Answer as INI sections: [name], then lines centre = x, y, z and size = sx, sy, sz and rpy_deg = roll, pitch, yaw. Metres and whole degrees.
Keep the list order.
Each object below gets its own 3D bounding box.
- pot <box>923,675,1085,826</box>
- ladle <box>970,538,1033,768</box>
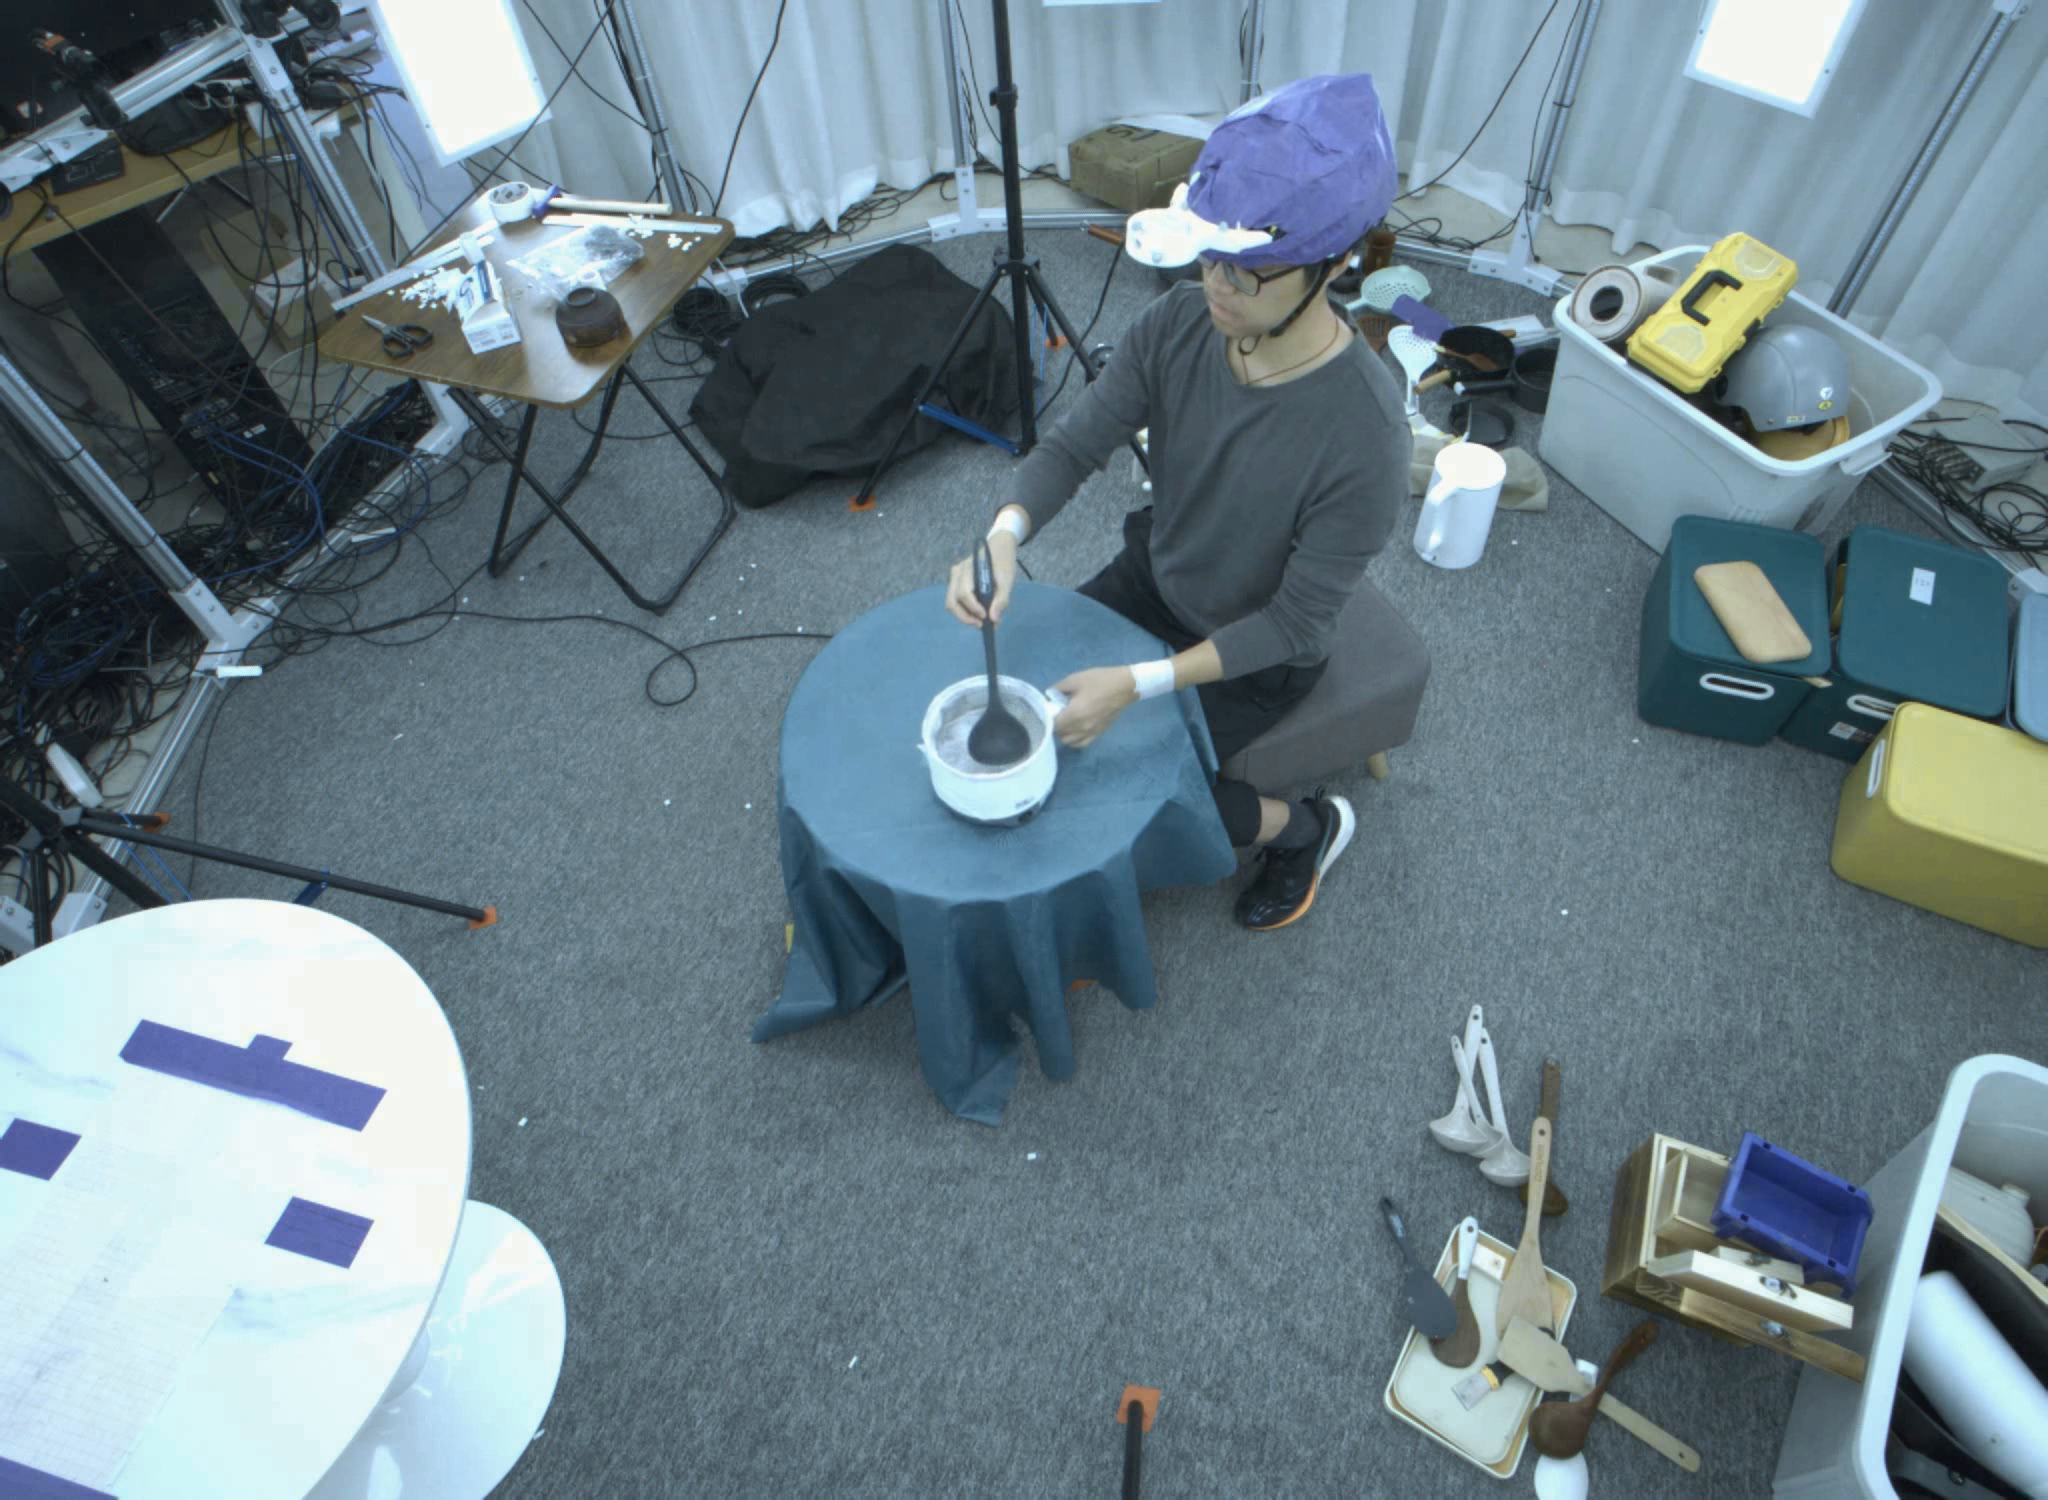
[pot]
centre = -0.021, -0.009, 1.717
size = 0.235, 0.138, 0.175
rpy_deg = -28, 58, -17
[ladle]
centre = -0.041, -0.122, 1.607
size = 0.087, 0.317, 0.063
rpy_deg = -9, 32, -8
